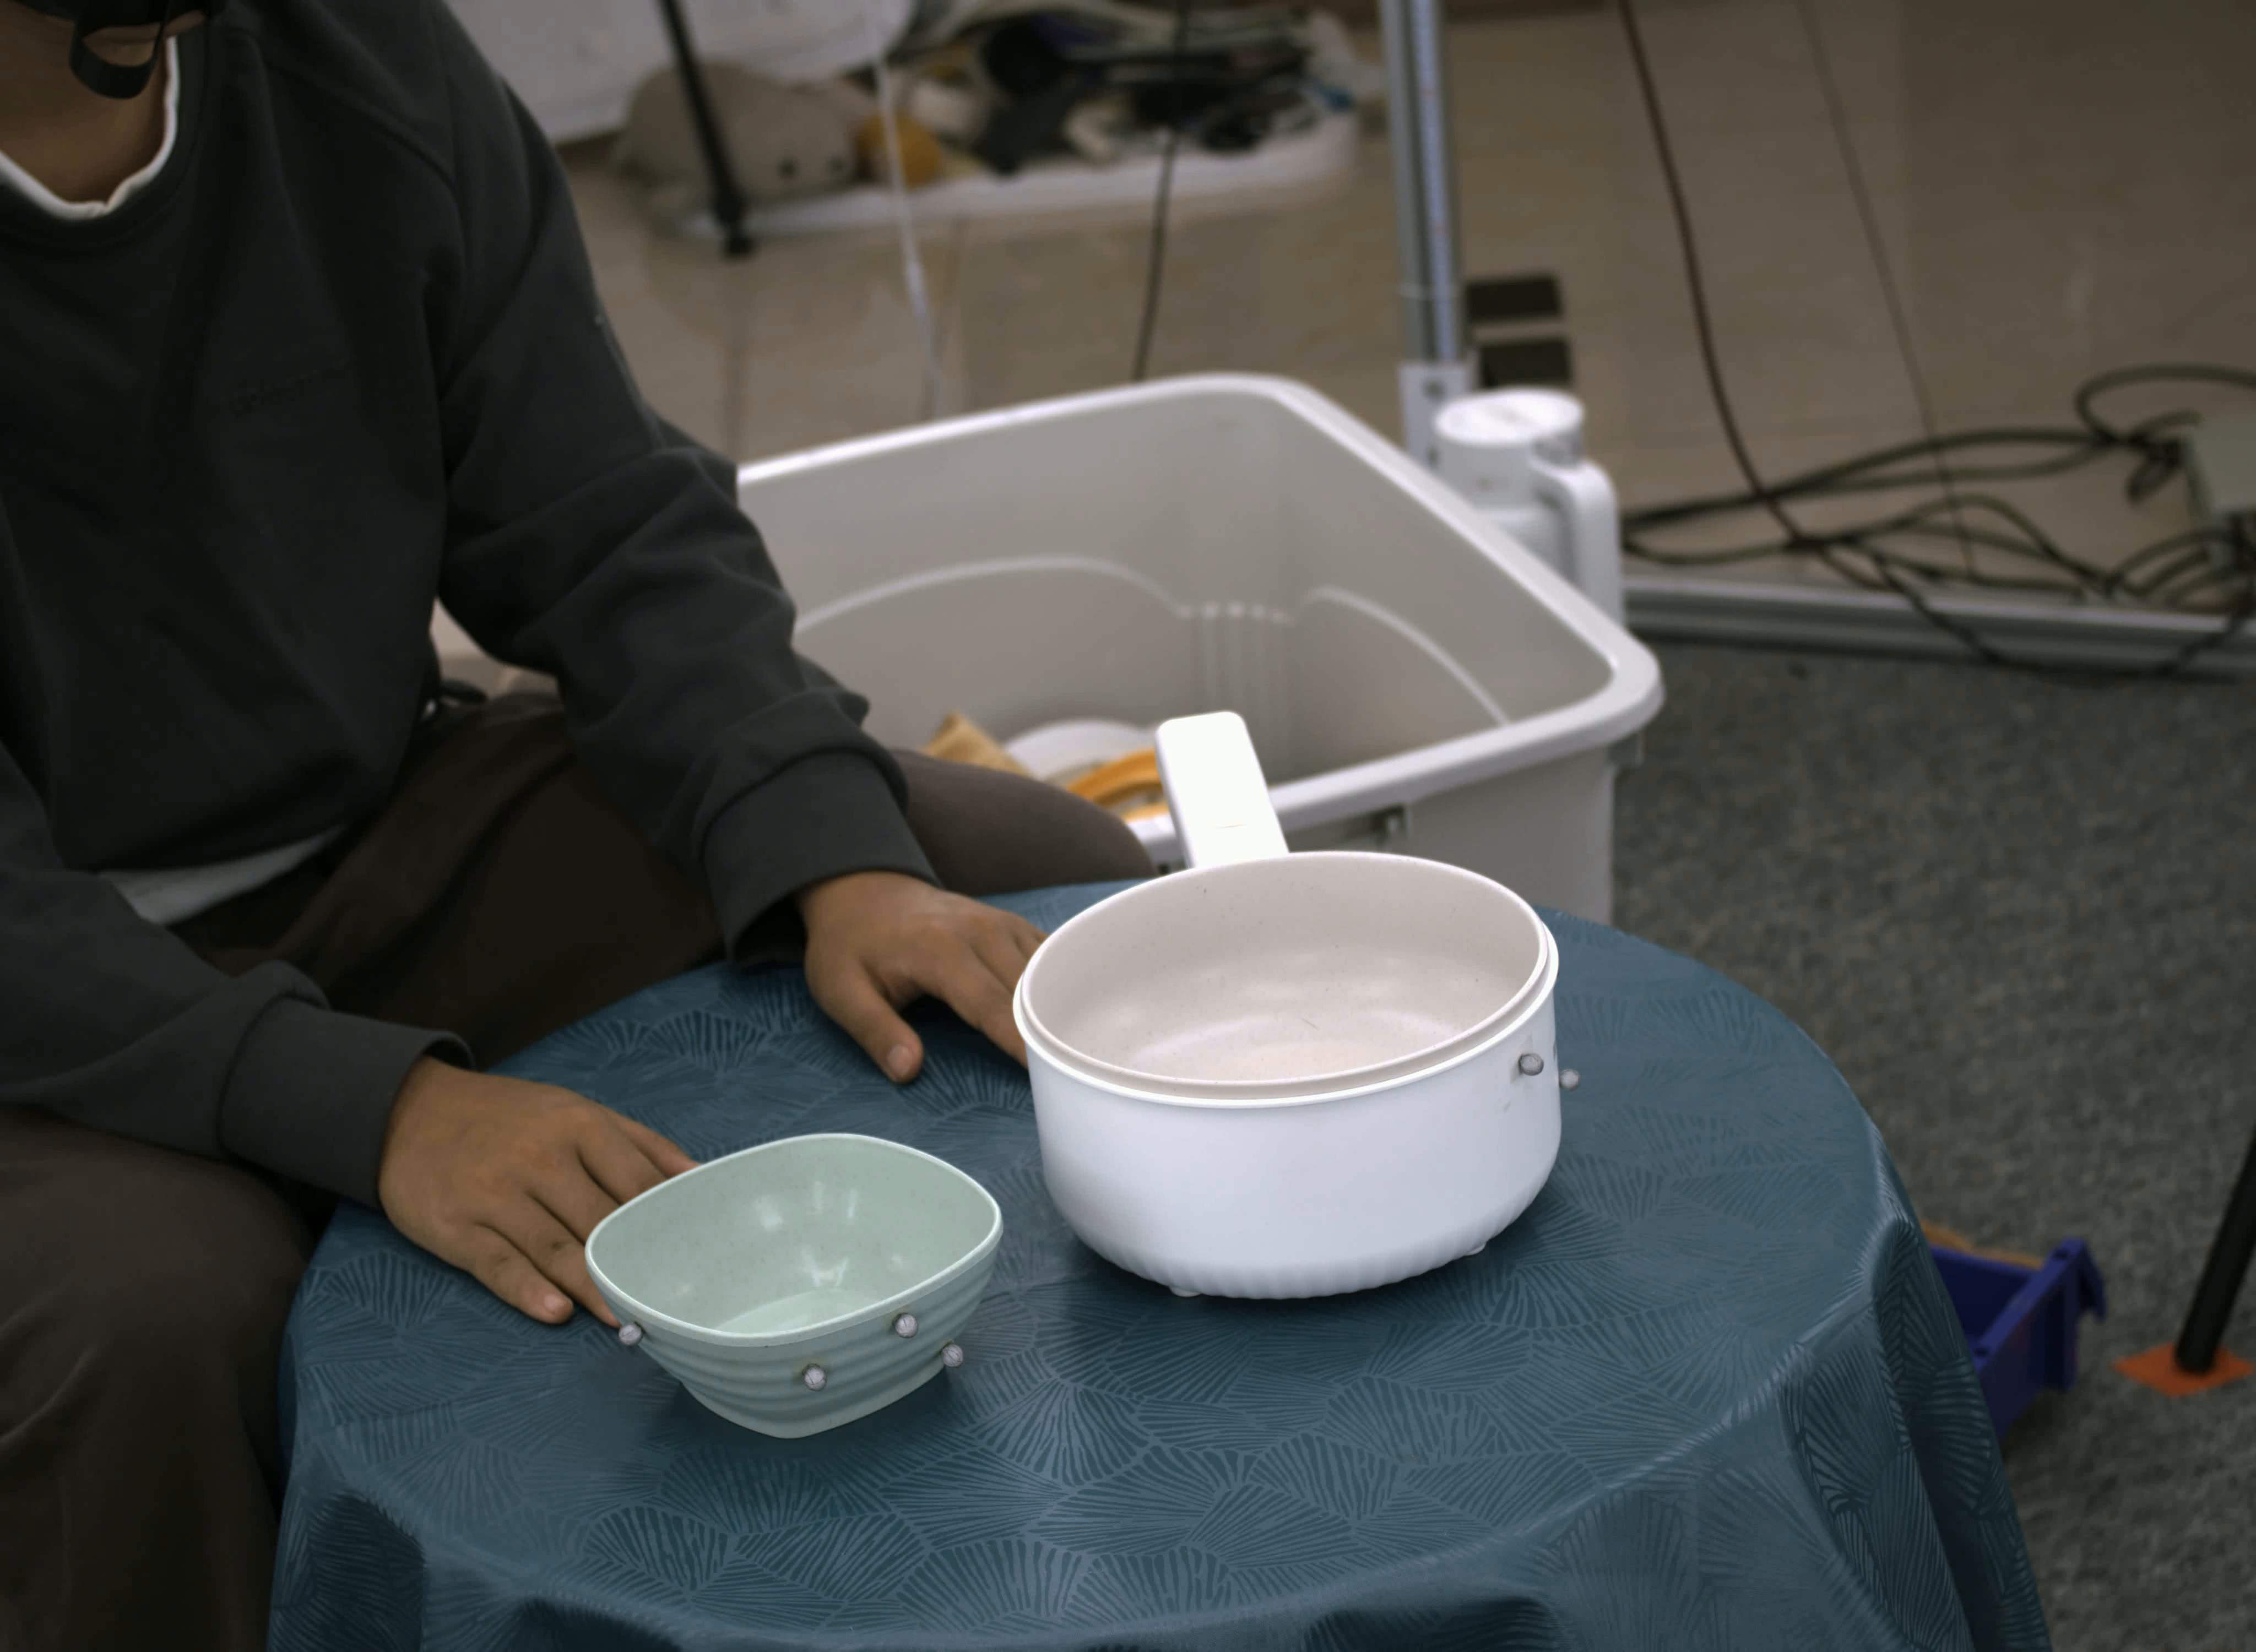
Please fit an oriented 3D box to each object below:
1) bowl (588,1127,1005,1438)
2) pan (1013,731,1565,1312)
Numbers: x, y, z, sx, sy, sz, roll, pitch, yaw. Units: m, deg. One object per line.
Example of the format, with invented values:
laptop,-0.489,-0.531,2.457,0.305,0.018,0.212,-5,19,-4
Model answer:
bowl,-0.116,0.170,2.040,0.151,0.059,0.149,-5,26,3
pan,0.054,0.072,2.175,0.201,0.103,0.350,-11,23,-3
